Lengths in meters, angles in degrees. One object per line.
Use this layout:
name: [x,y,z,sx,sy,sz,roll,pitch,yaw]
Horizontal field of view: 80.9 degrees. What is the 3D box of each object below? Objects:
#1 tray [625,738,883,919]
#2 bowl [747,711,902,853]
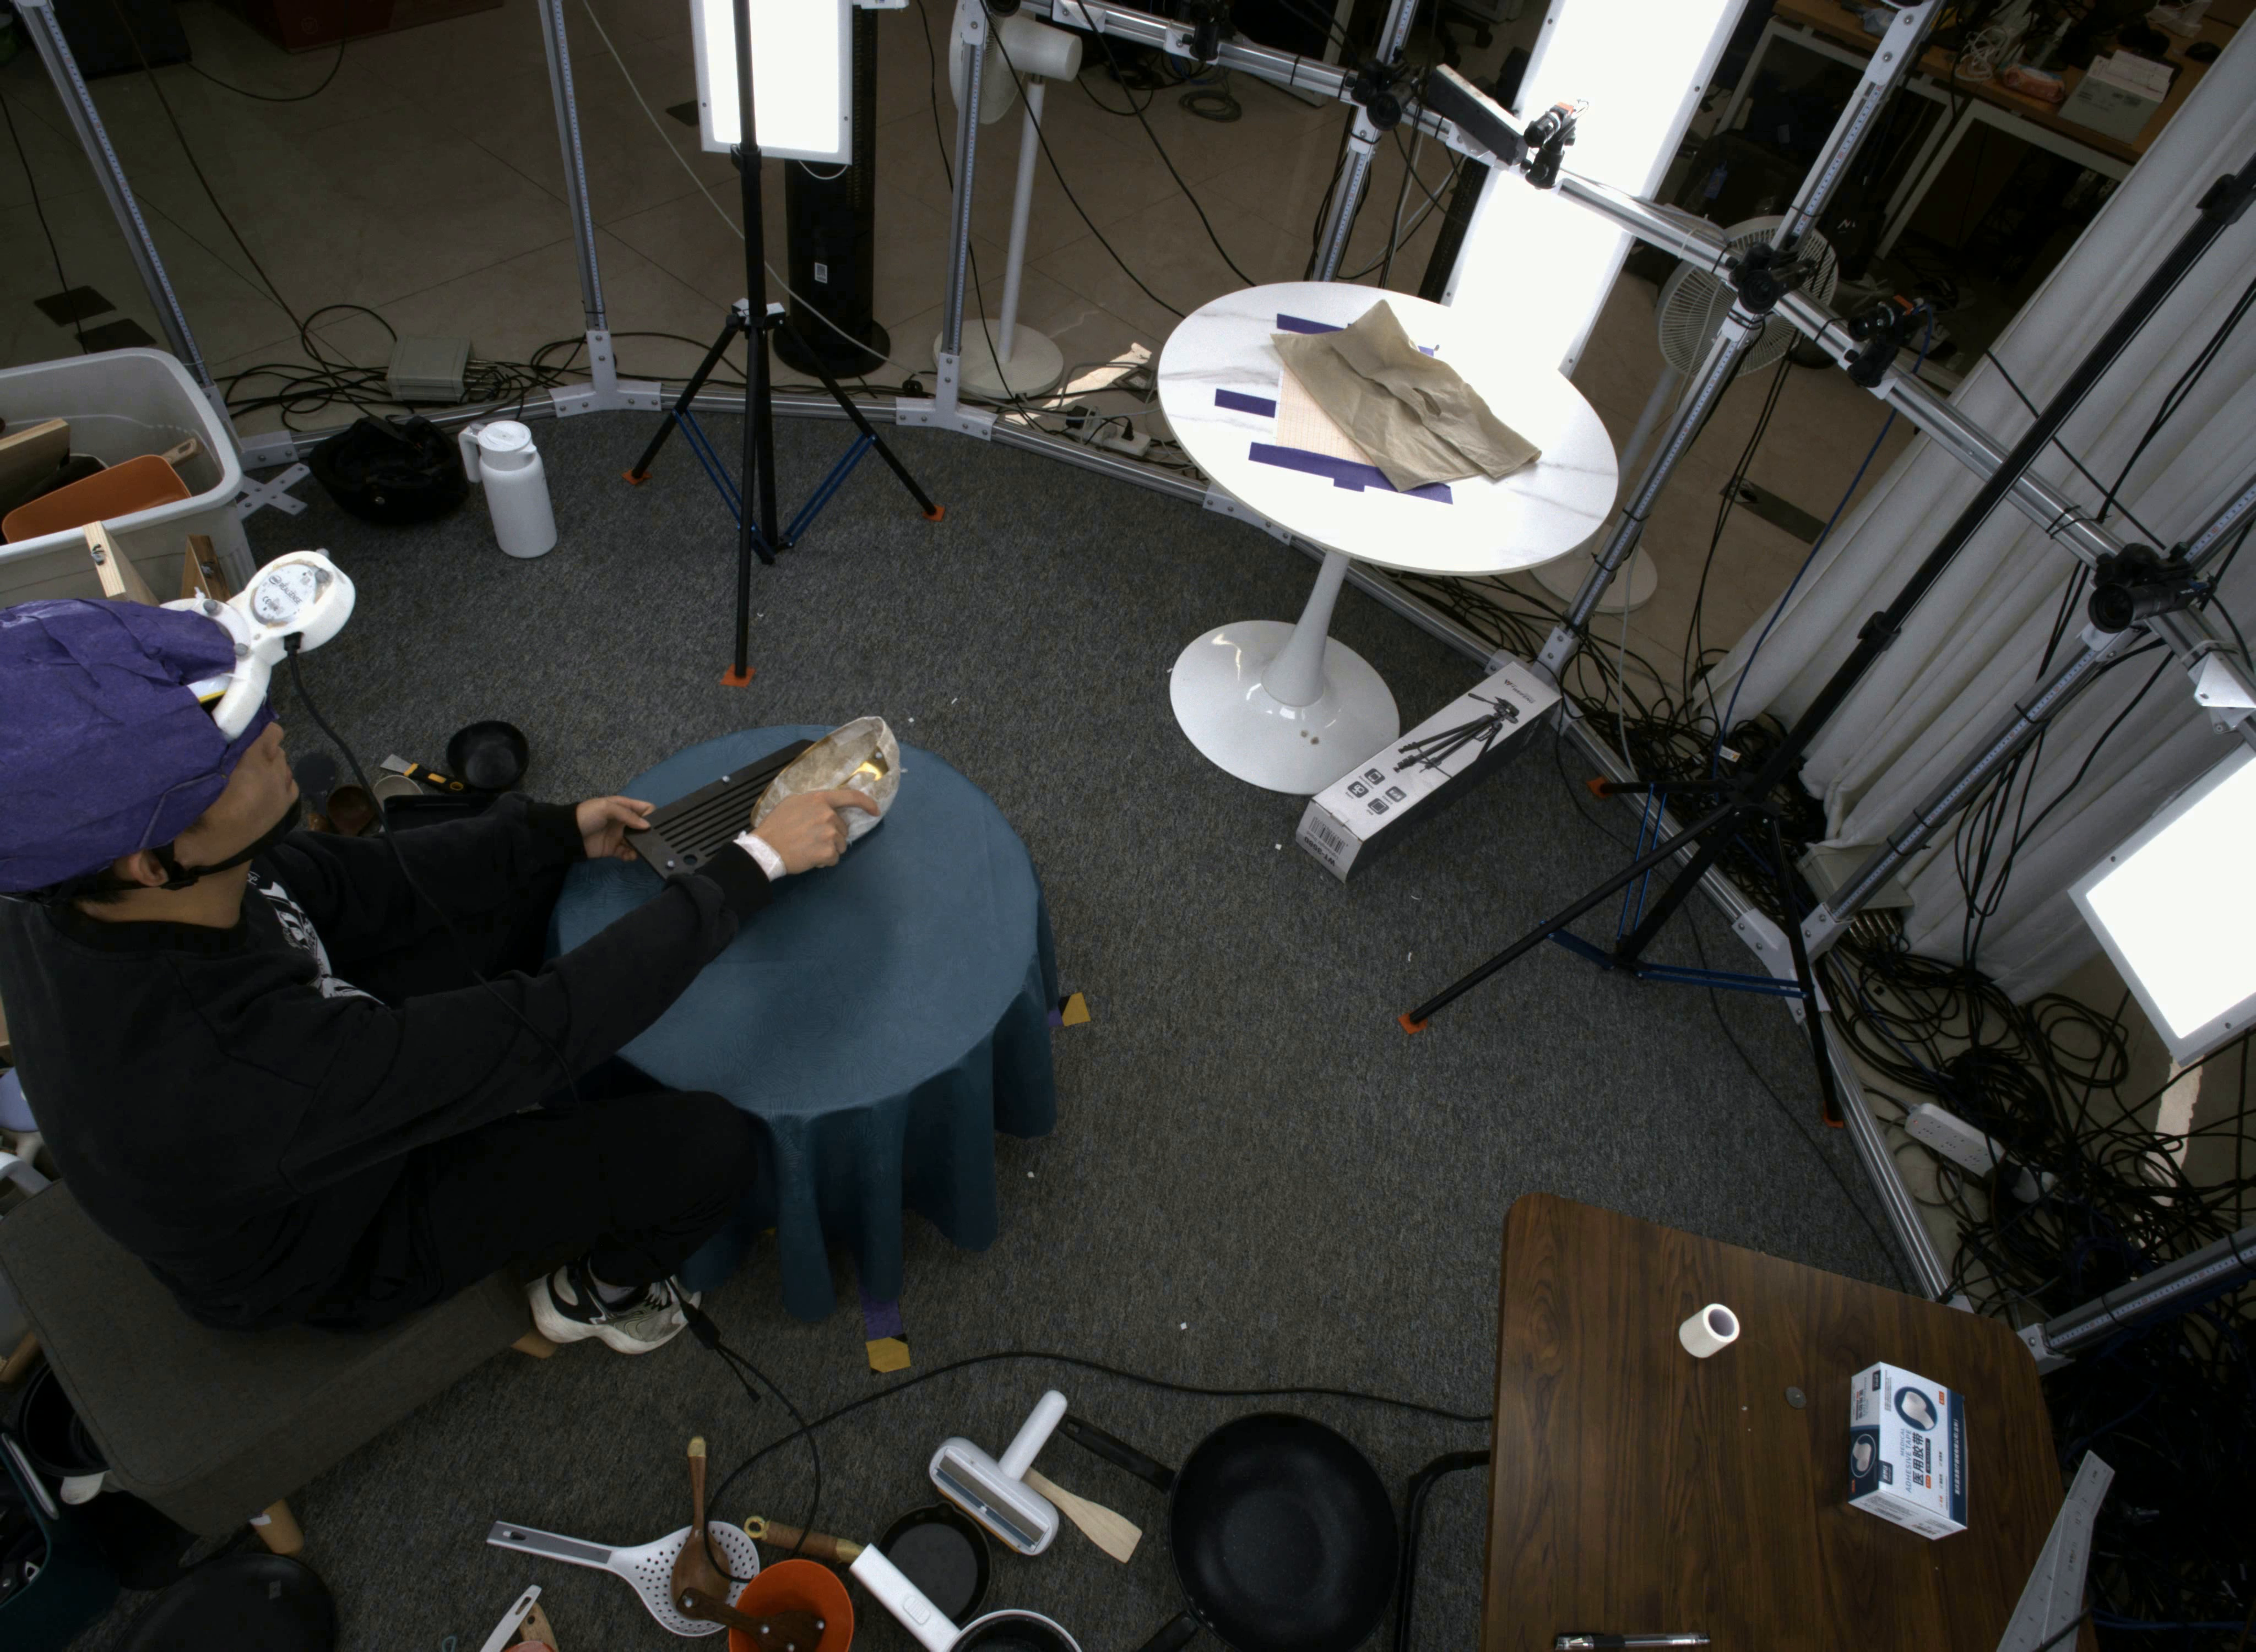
tray: [-0.478,-0.003,1.671,0.167,0.019,0.307,43,46,13]
bowl: [-0.351,-0.036,1.571,0.211,0.098,0.210,-26,31,19]
